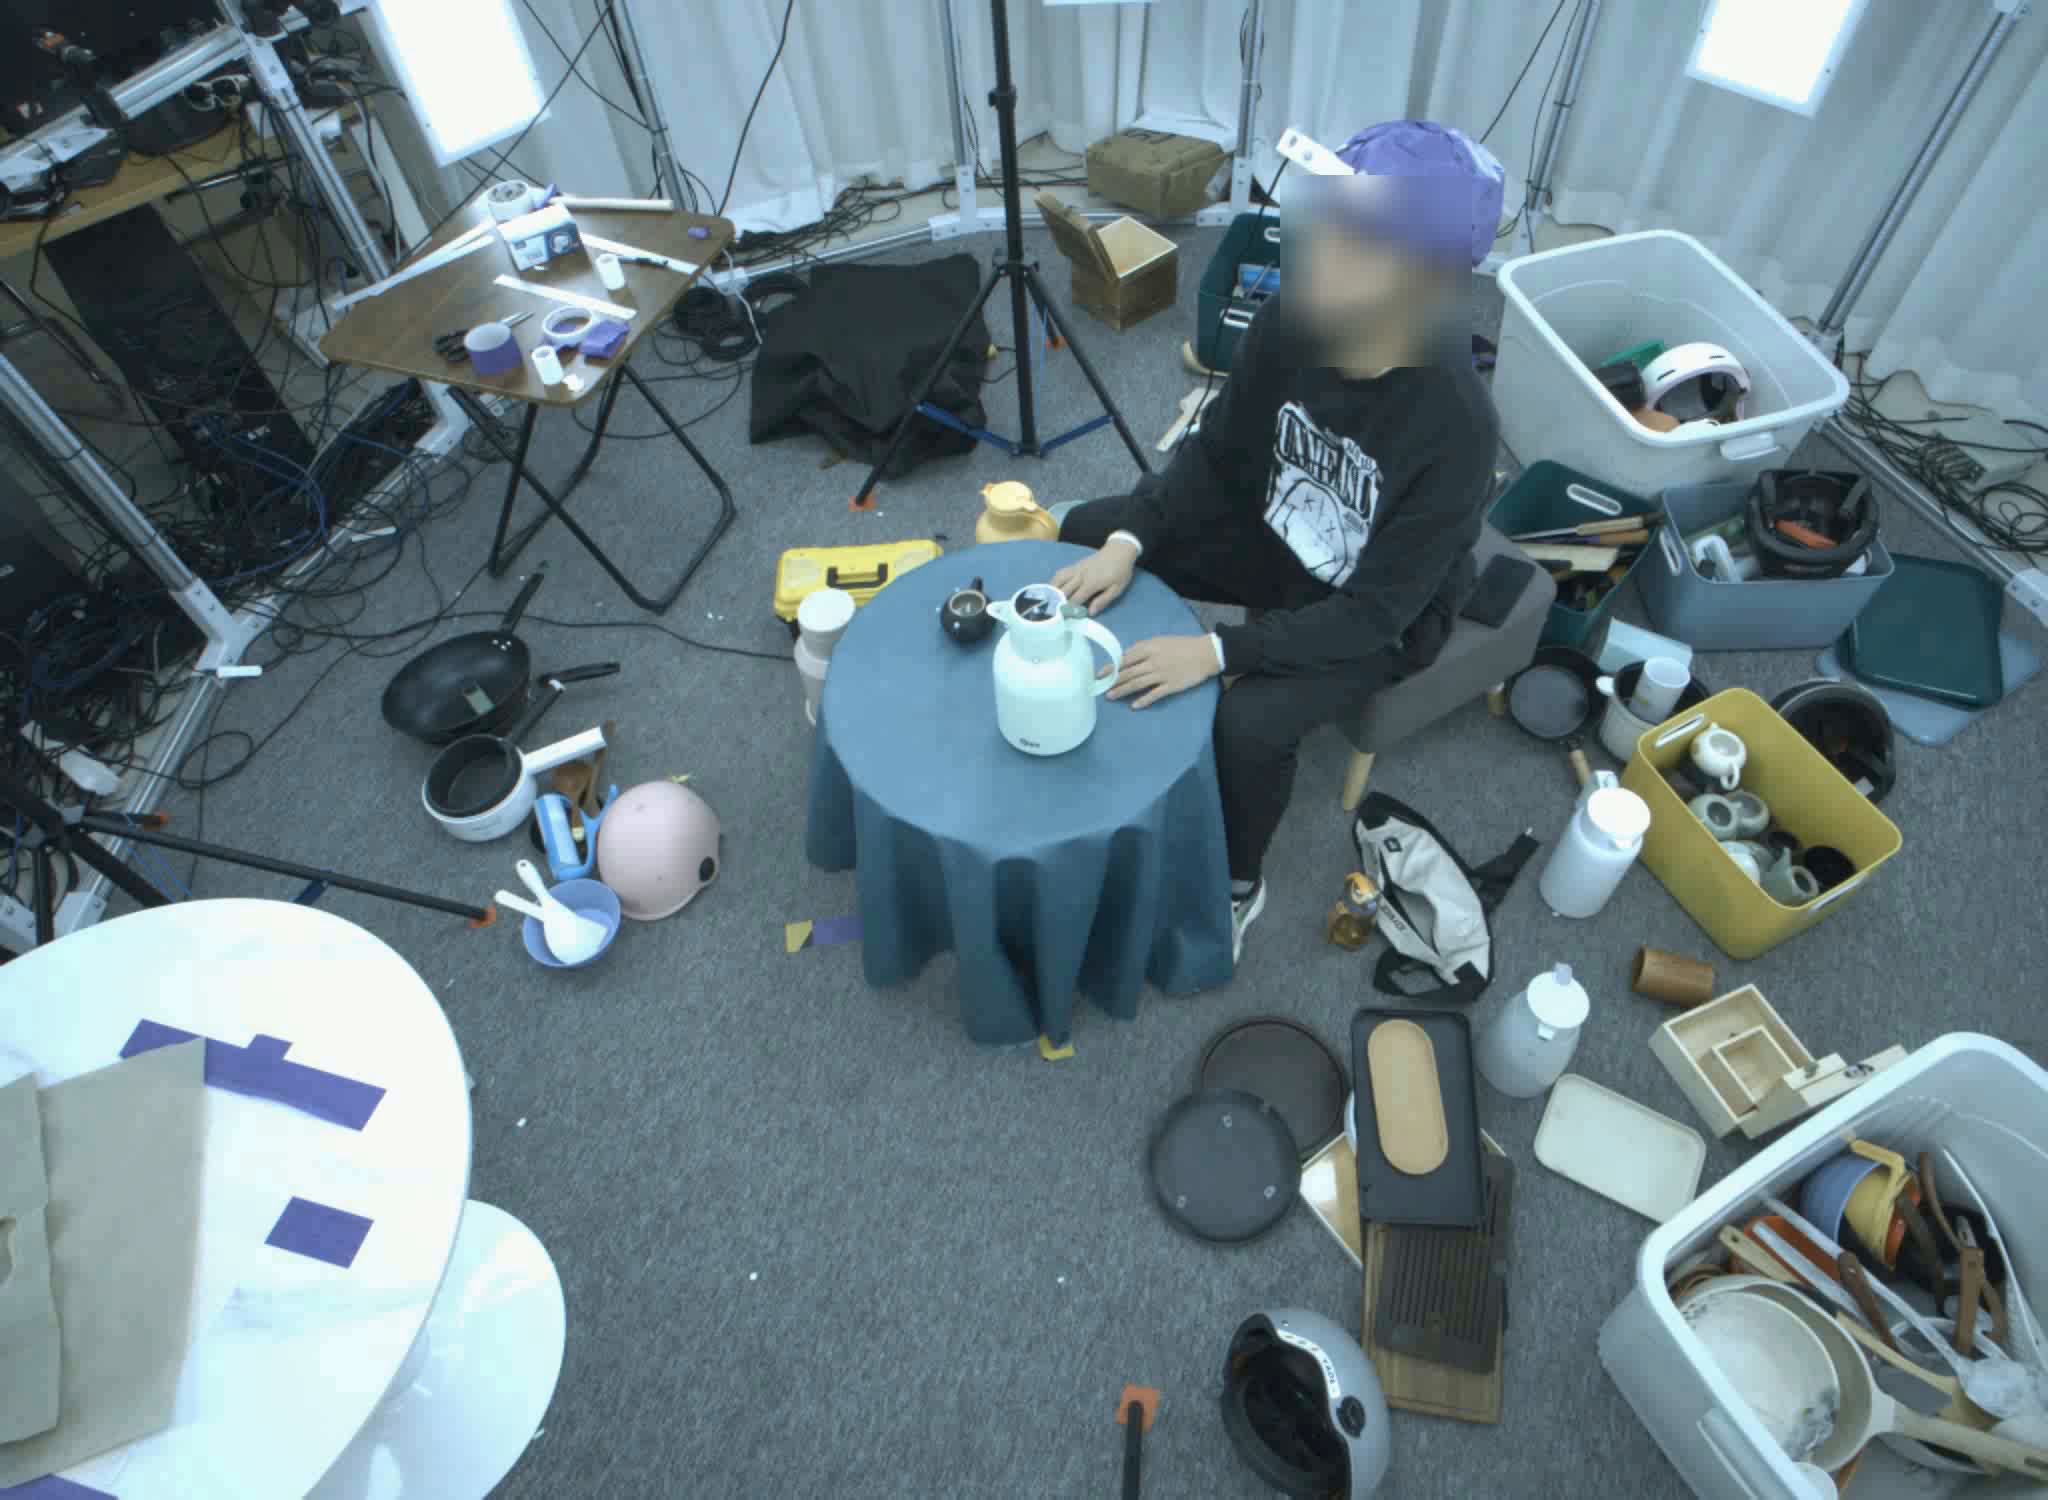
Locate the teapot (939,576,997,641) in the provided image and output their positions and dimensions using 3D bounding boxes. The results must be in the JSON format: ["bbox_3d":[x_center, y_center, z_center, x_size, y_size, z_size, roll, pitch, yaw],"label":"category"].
[{"bbox_3d":[-0.088,-0.212,1.905,0.090,0.053,0.132,12,56,8],"label":"teapot"}]

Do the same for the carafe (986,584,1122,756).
[{"bbox_3d":[0.039,-0.114,1.709,0.186,0.259,0.144,12,54,8],"label":"carafe"}]
